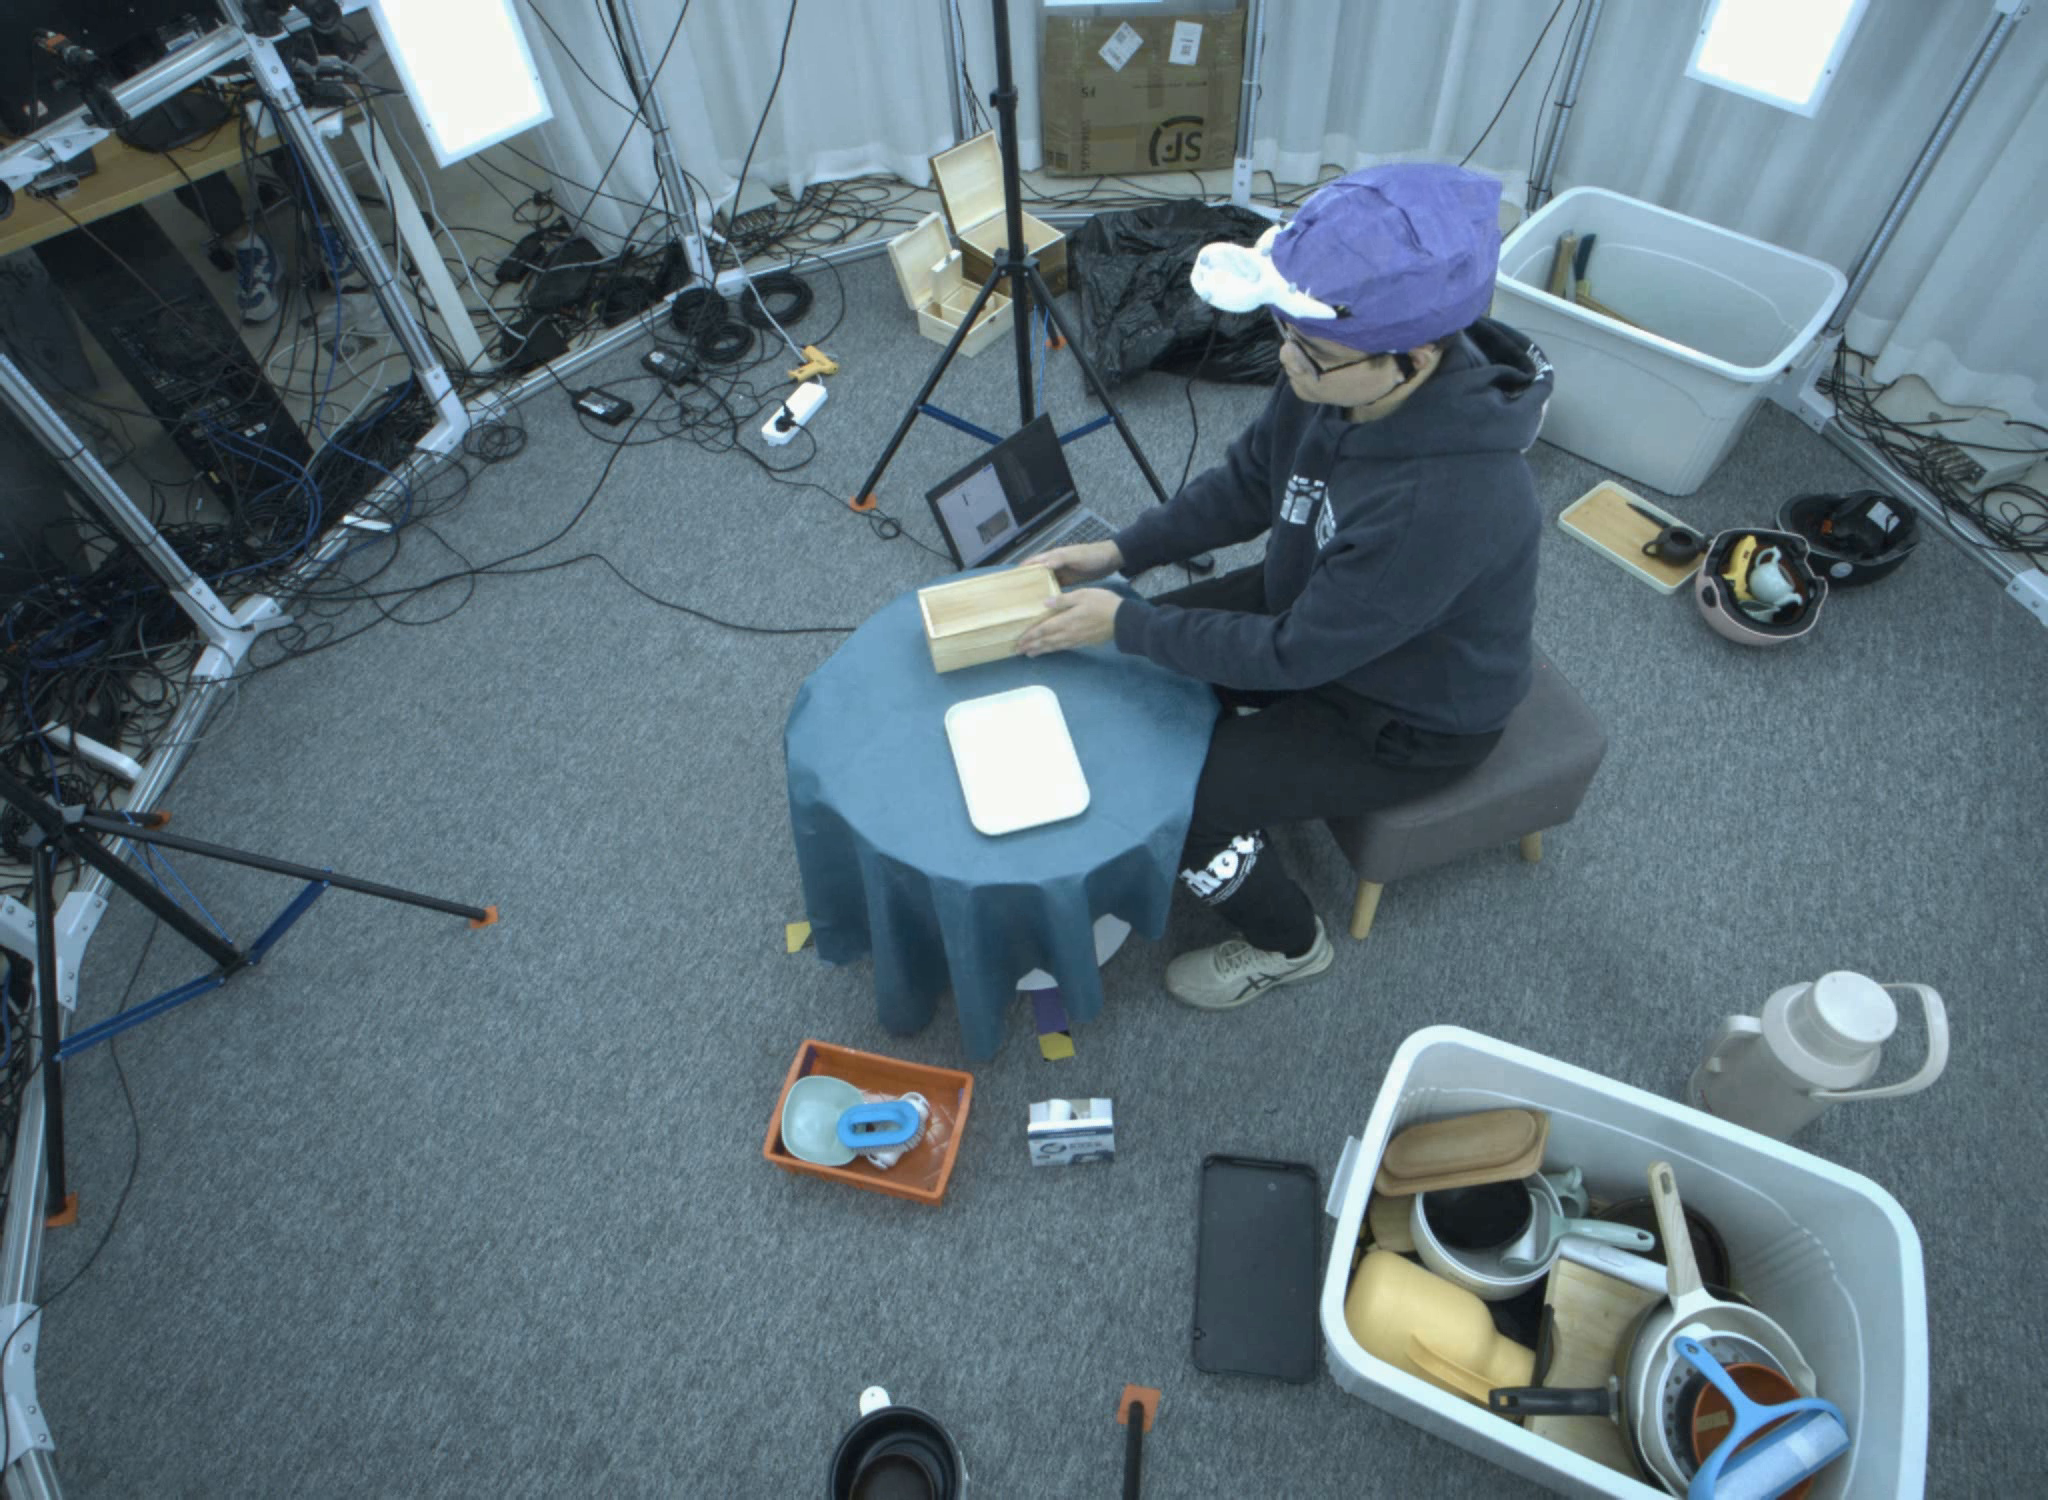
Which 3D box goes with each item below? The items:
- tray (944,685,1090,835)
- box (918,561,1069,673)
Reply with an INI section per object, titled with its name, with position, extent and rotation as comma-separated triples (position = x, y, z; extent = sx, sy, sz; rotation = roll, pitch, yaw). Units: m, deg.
[tray]
position = -0.012, 0.013, 1.769
extent = 0.172, 0.017, 0.236
rotation = -13, 55, -8
[box]
position = -0.047, -0.204, 1.884
extent = 0.212, 0.081, 0.106
rotation = -14, 56, -8
